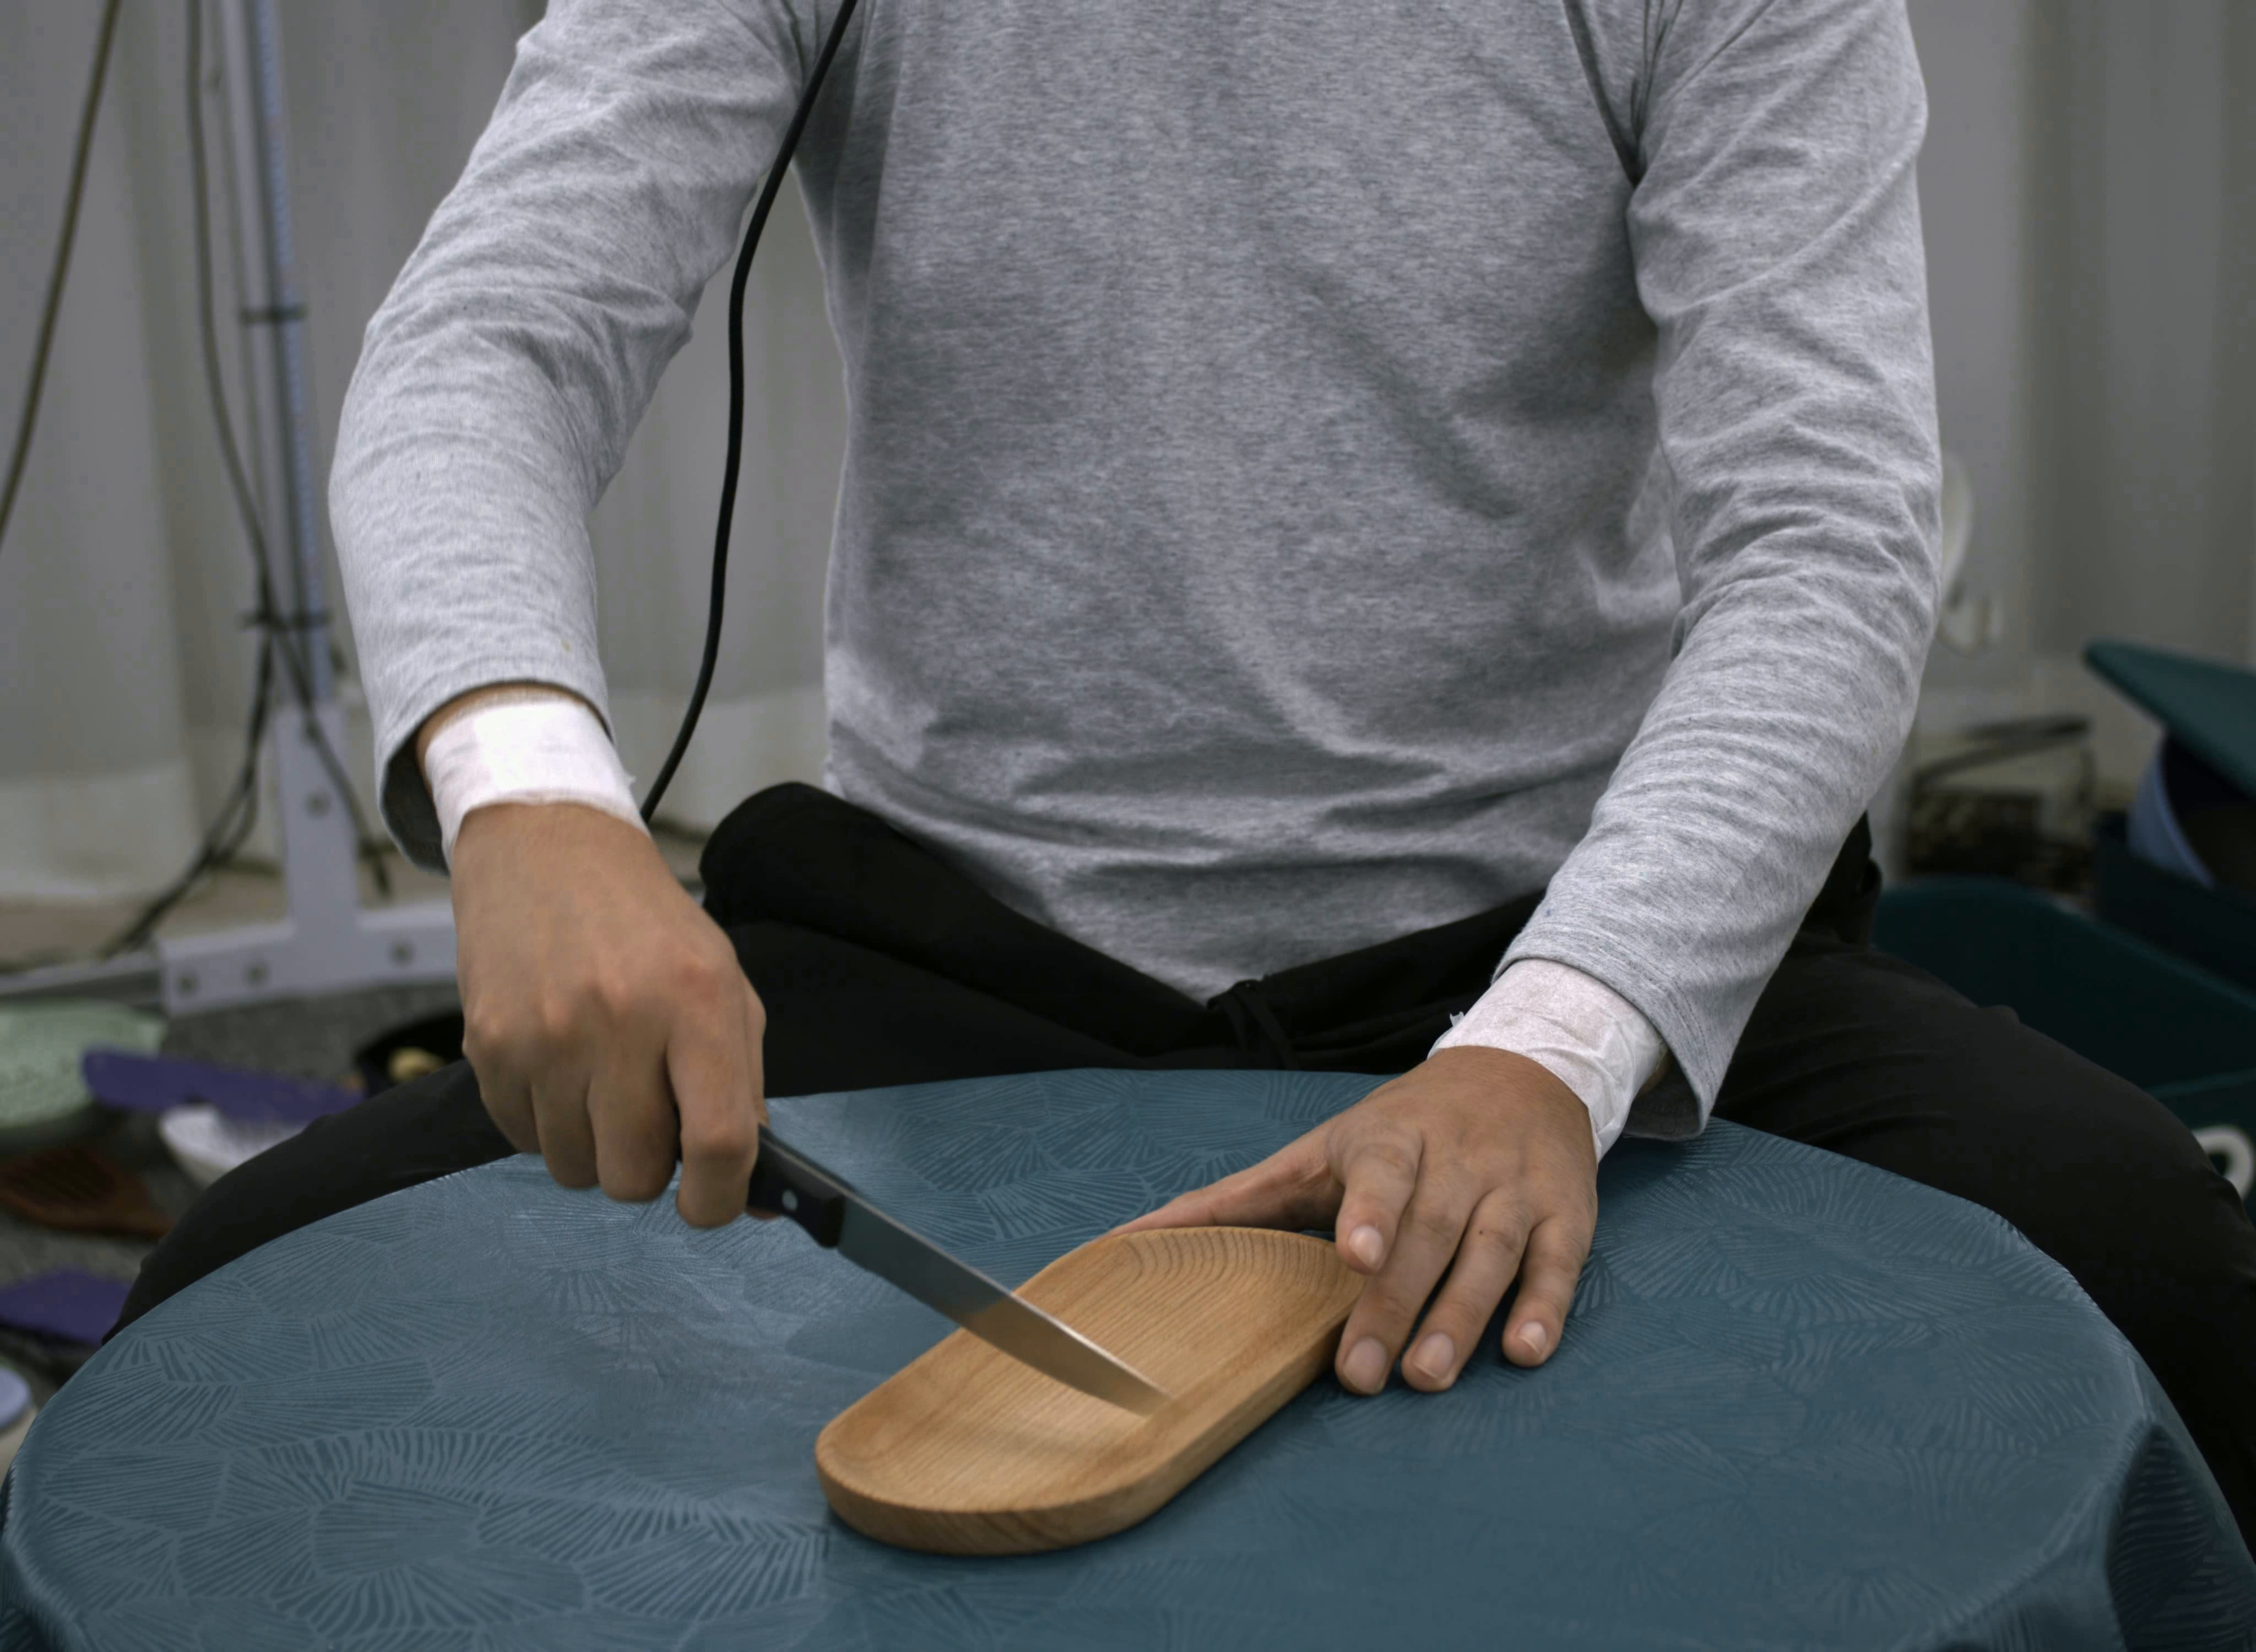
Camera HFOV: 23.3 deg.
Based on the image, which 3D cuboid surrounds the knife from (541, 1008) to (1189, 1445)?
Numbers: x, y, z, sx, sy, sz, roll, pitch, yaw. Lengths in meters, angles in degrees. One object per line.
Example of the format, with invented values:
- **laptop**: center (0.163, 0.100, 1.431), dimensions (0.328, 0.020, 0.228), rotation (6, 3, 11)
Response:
- **knife**: center (-0.074, 0.110, 1.527), dimensions (0.240, 0.024, 0.016), rotation (30, 36, 28)

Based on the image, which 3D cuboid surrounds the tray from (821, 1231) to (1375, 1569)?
- **tray**: center (-0.005, 0.158, 1.527), dimensions (0.102, 0.020, 0.232), rotation (2, 17, 24)
